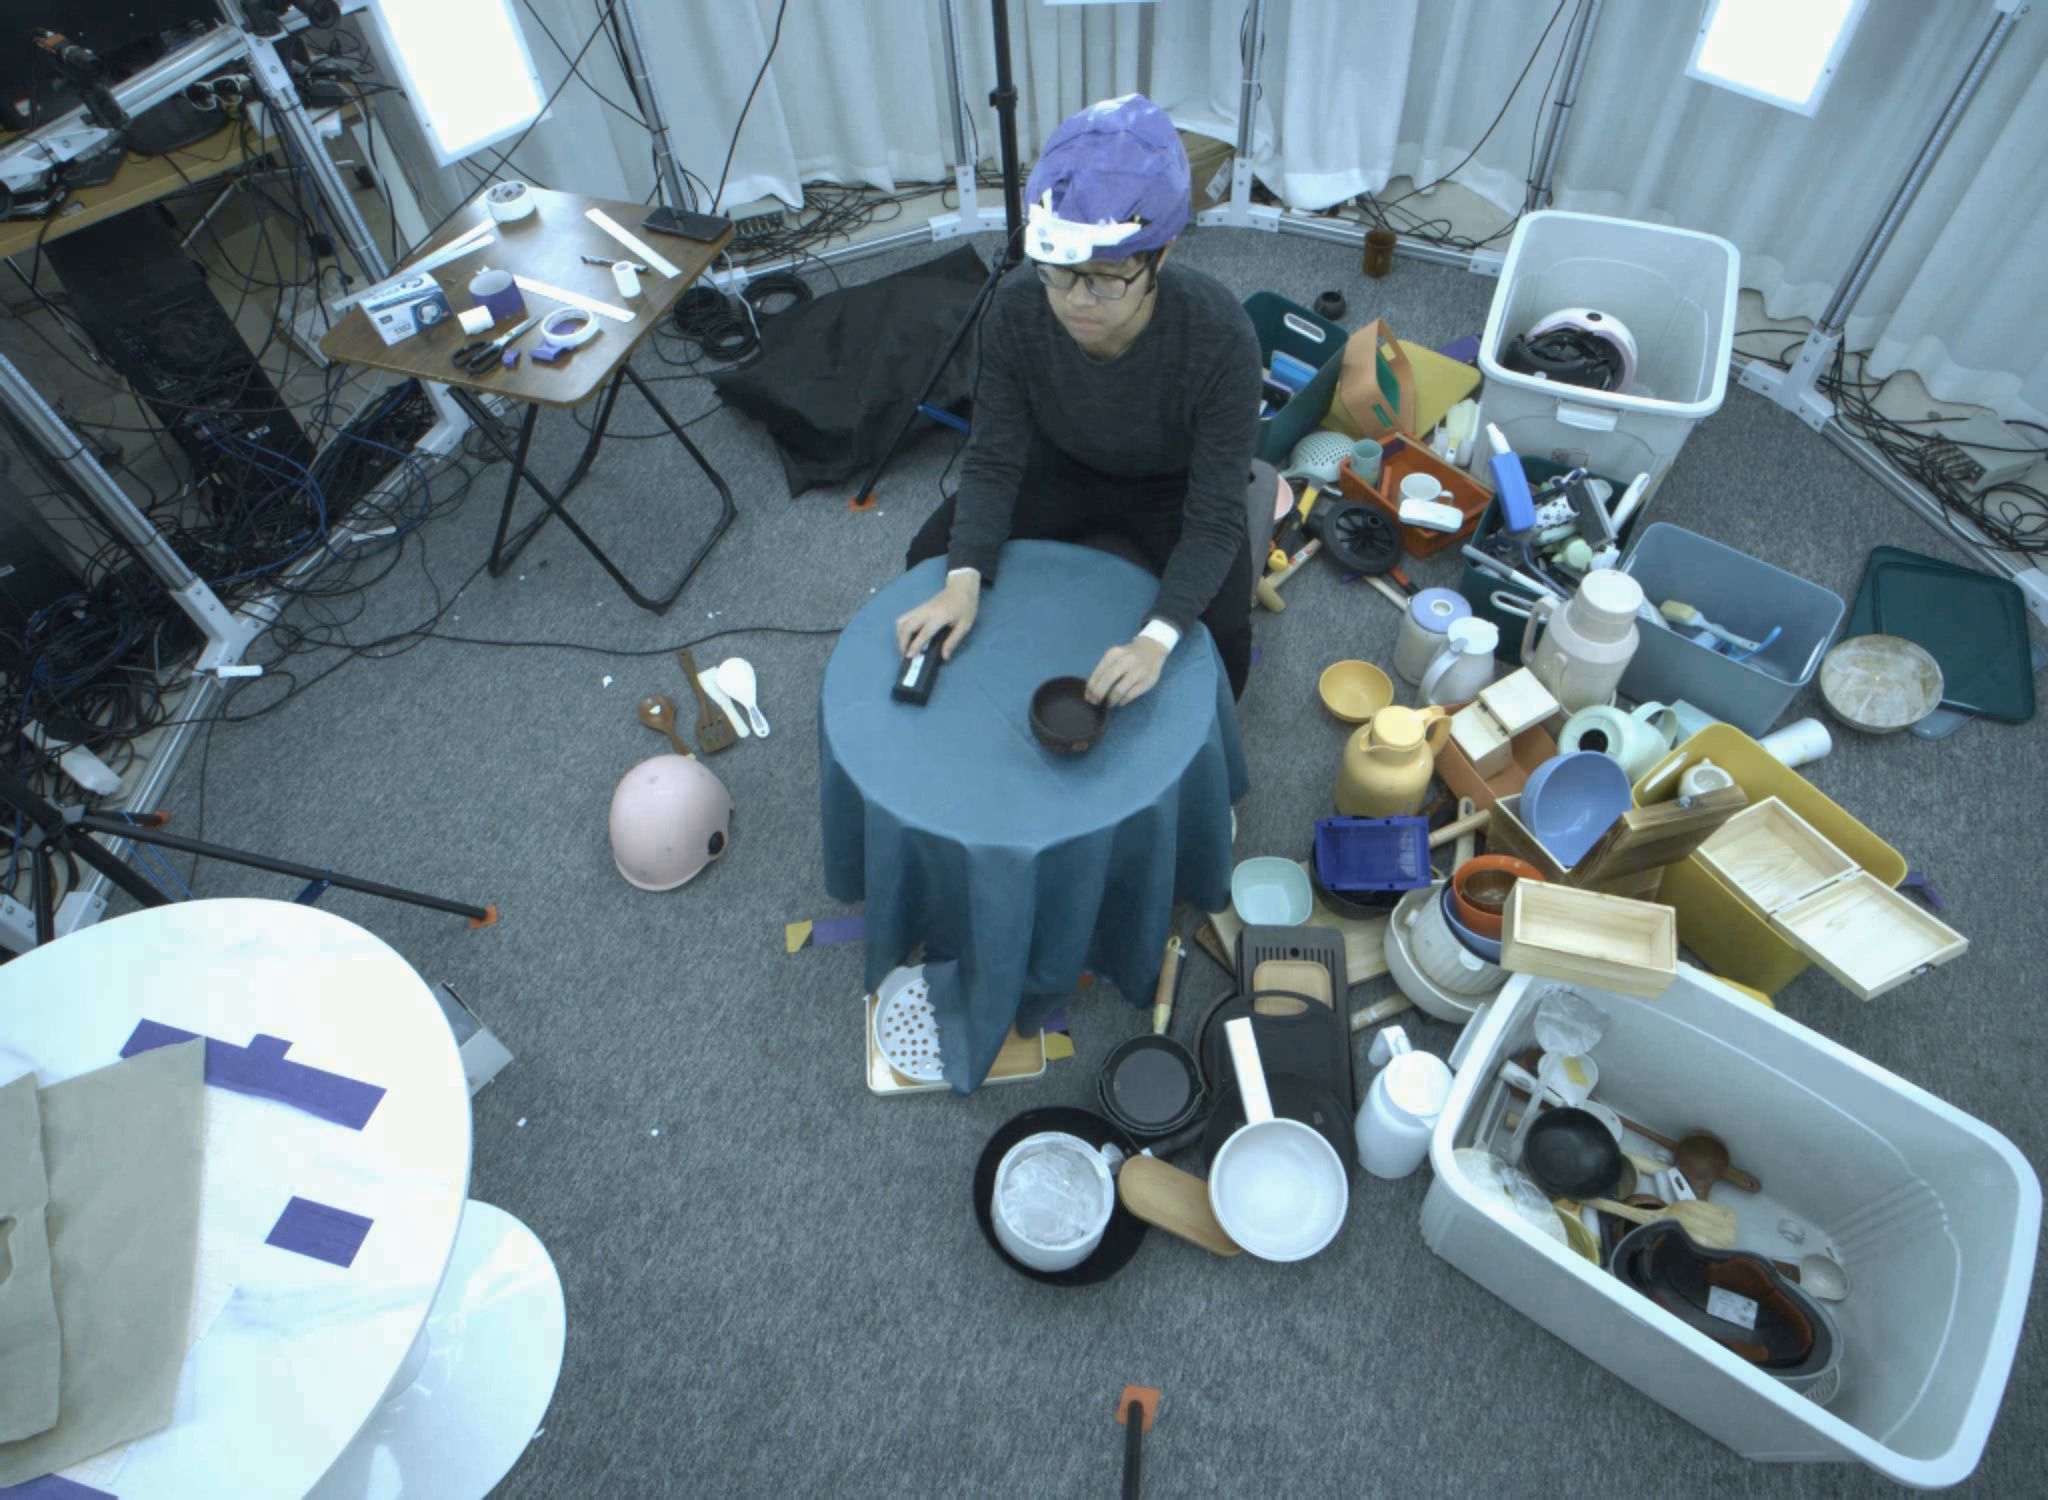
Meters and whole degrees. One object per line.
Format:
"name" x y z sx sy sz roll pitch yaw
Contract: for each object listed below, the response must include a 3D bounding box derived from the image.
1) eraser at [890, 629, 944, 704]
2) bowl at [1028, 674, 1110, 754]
"eraser" -0.161 -0.127 1.864 0.053 0.031 0.125 9 56 9
"bowl" 0.063 -0.044 1.769 0.118 0.070 0.117 4 55 -4
